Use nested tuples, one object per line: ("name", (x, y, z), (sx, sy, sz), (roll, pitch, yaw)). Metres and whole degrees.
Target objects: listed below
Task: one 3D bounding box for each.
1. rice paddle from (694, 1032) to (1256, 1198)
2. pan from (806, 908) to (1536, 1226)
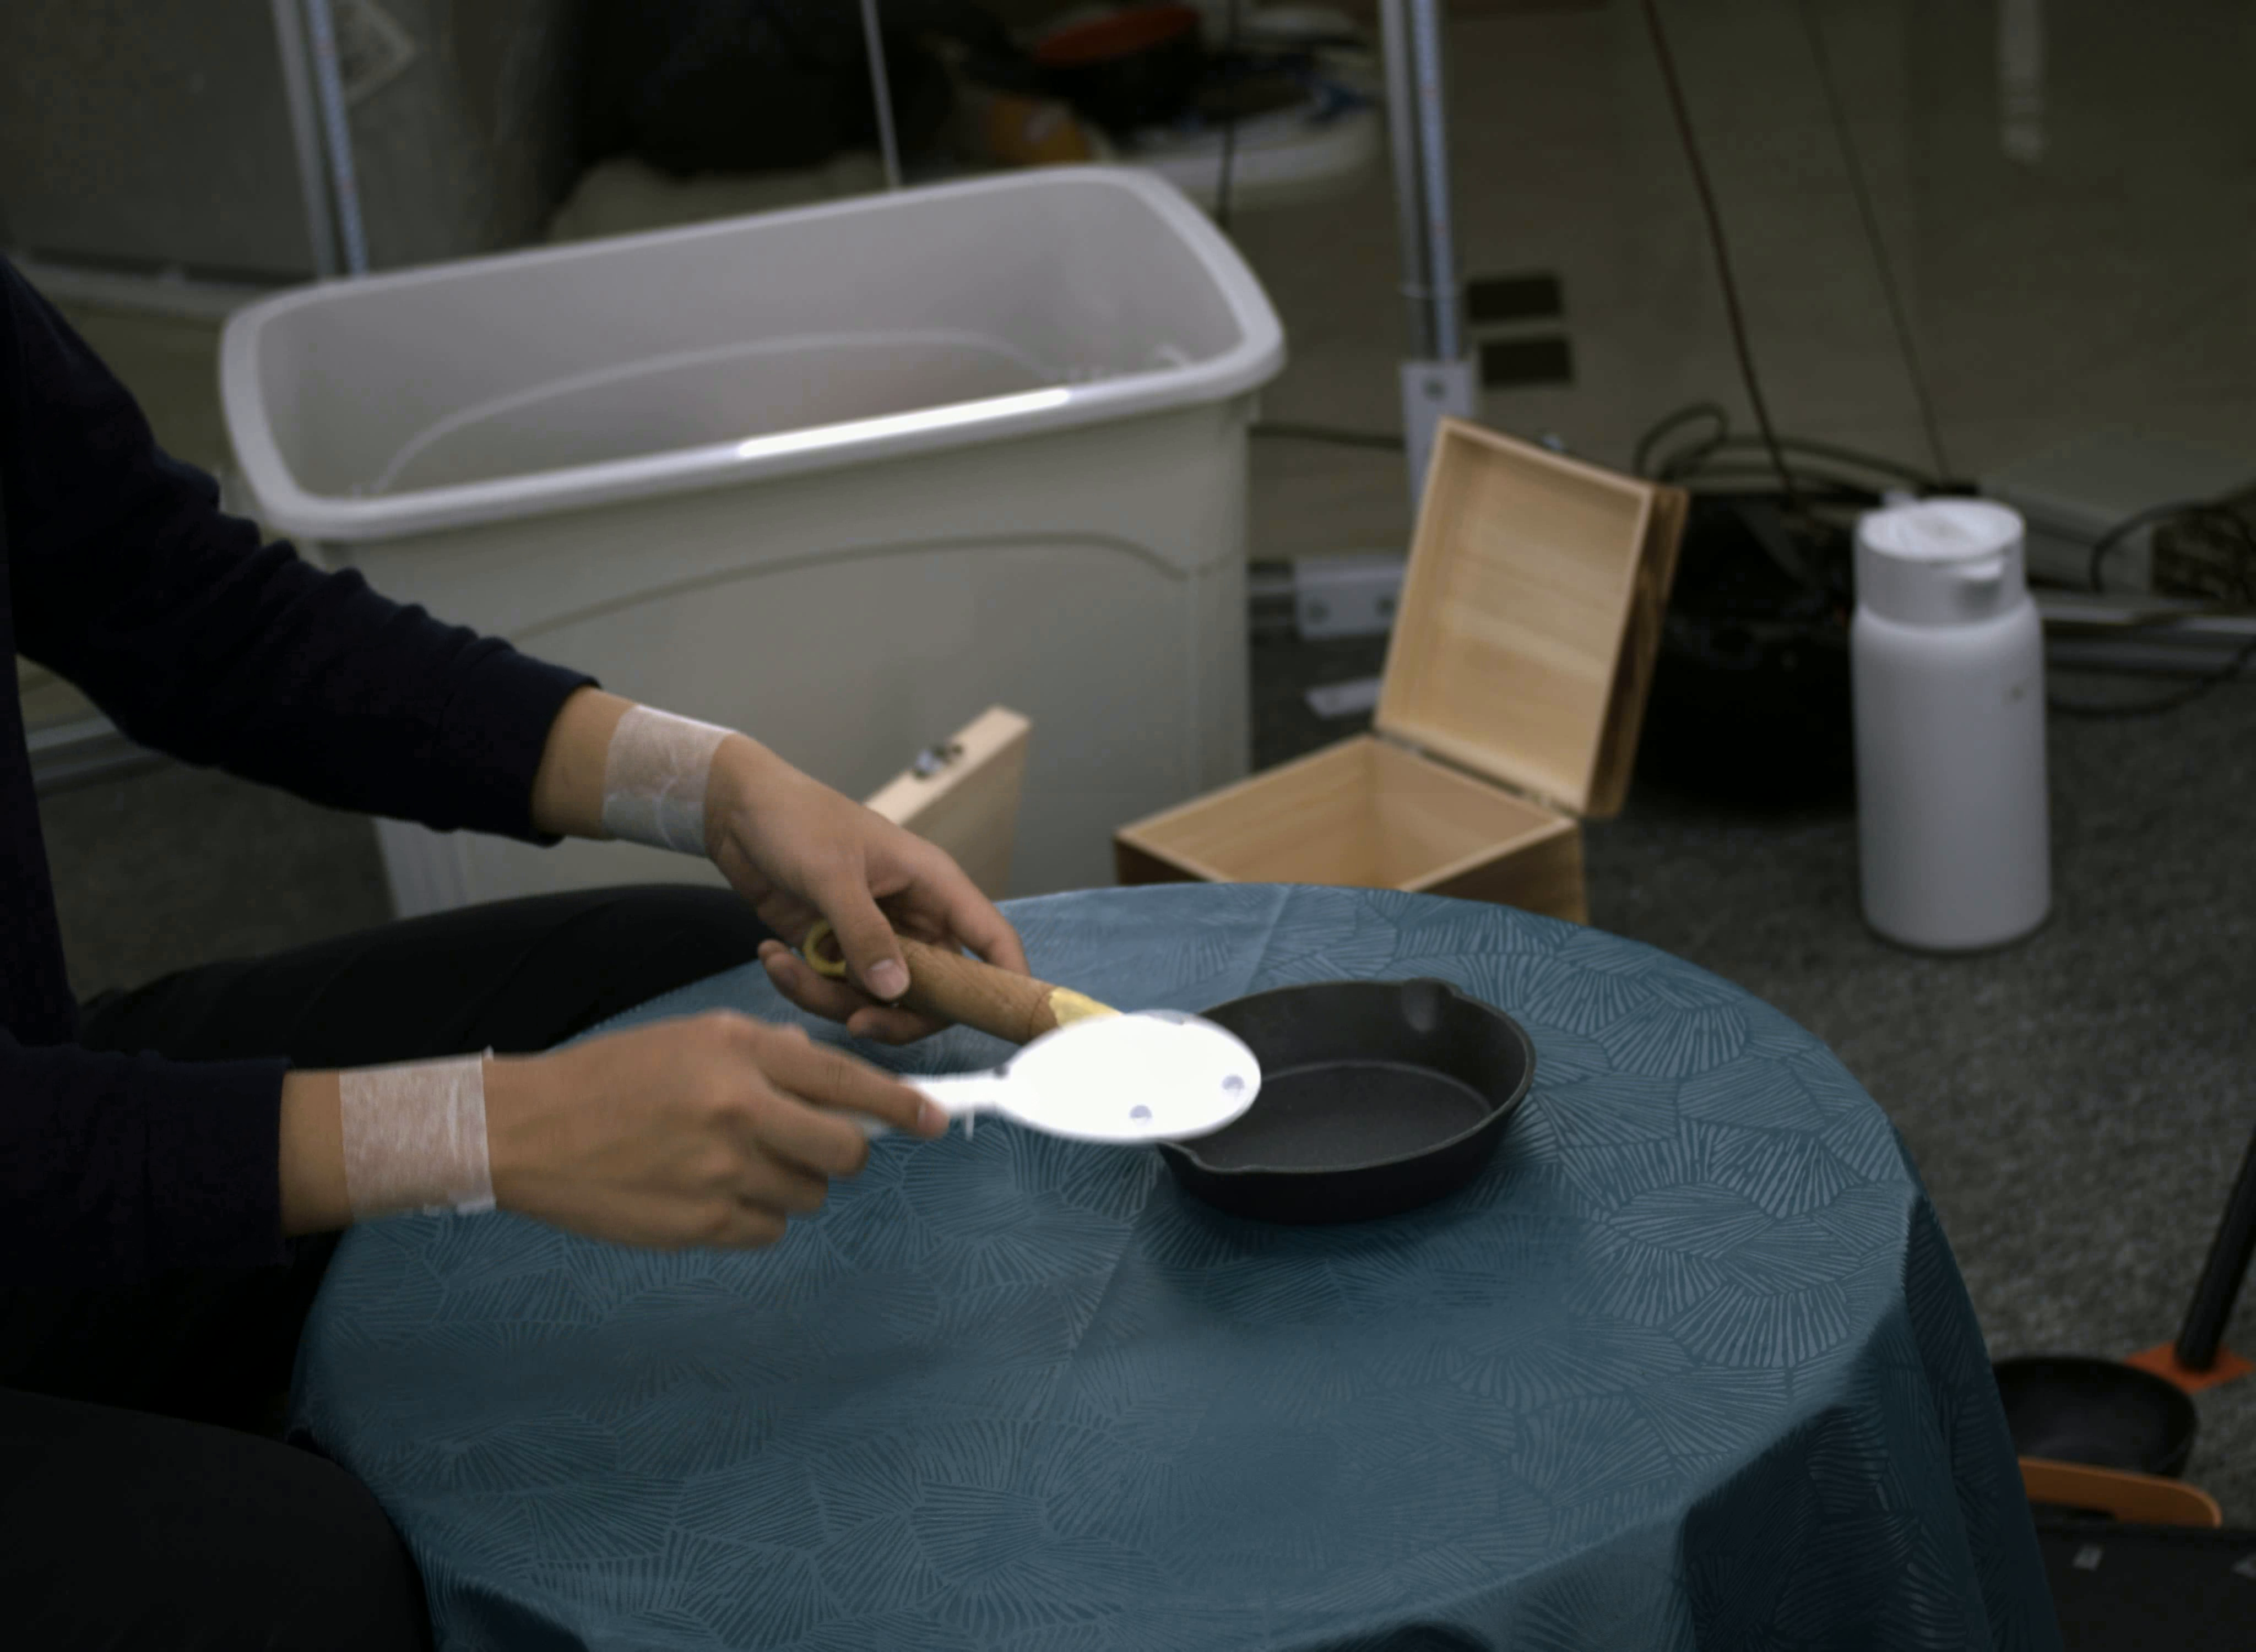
("rice paddle", (-0.053, 0.104, 2.035), (0.205, 0.030, 0.067), (-7, 40, -12))
("pan", (0.008, 0.085, 2.199), (0.322, 0.050, 0.167), (13, 32, 33))
